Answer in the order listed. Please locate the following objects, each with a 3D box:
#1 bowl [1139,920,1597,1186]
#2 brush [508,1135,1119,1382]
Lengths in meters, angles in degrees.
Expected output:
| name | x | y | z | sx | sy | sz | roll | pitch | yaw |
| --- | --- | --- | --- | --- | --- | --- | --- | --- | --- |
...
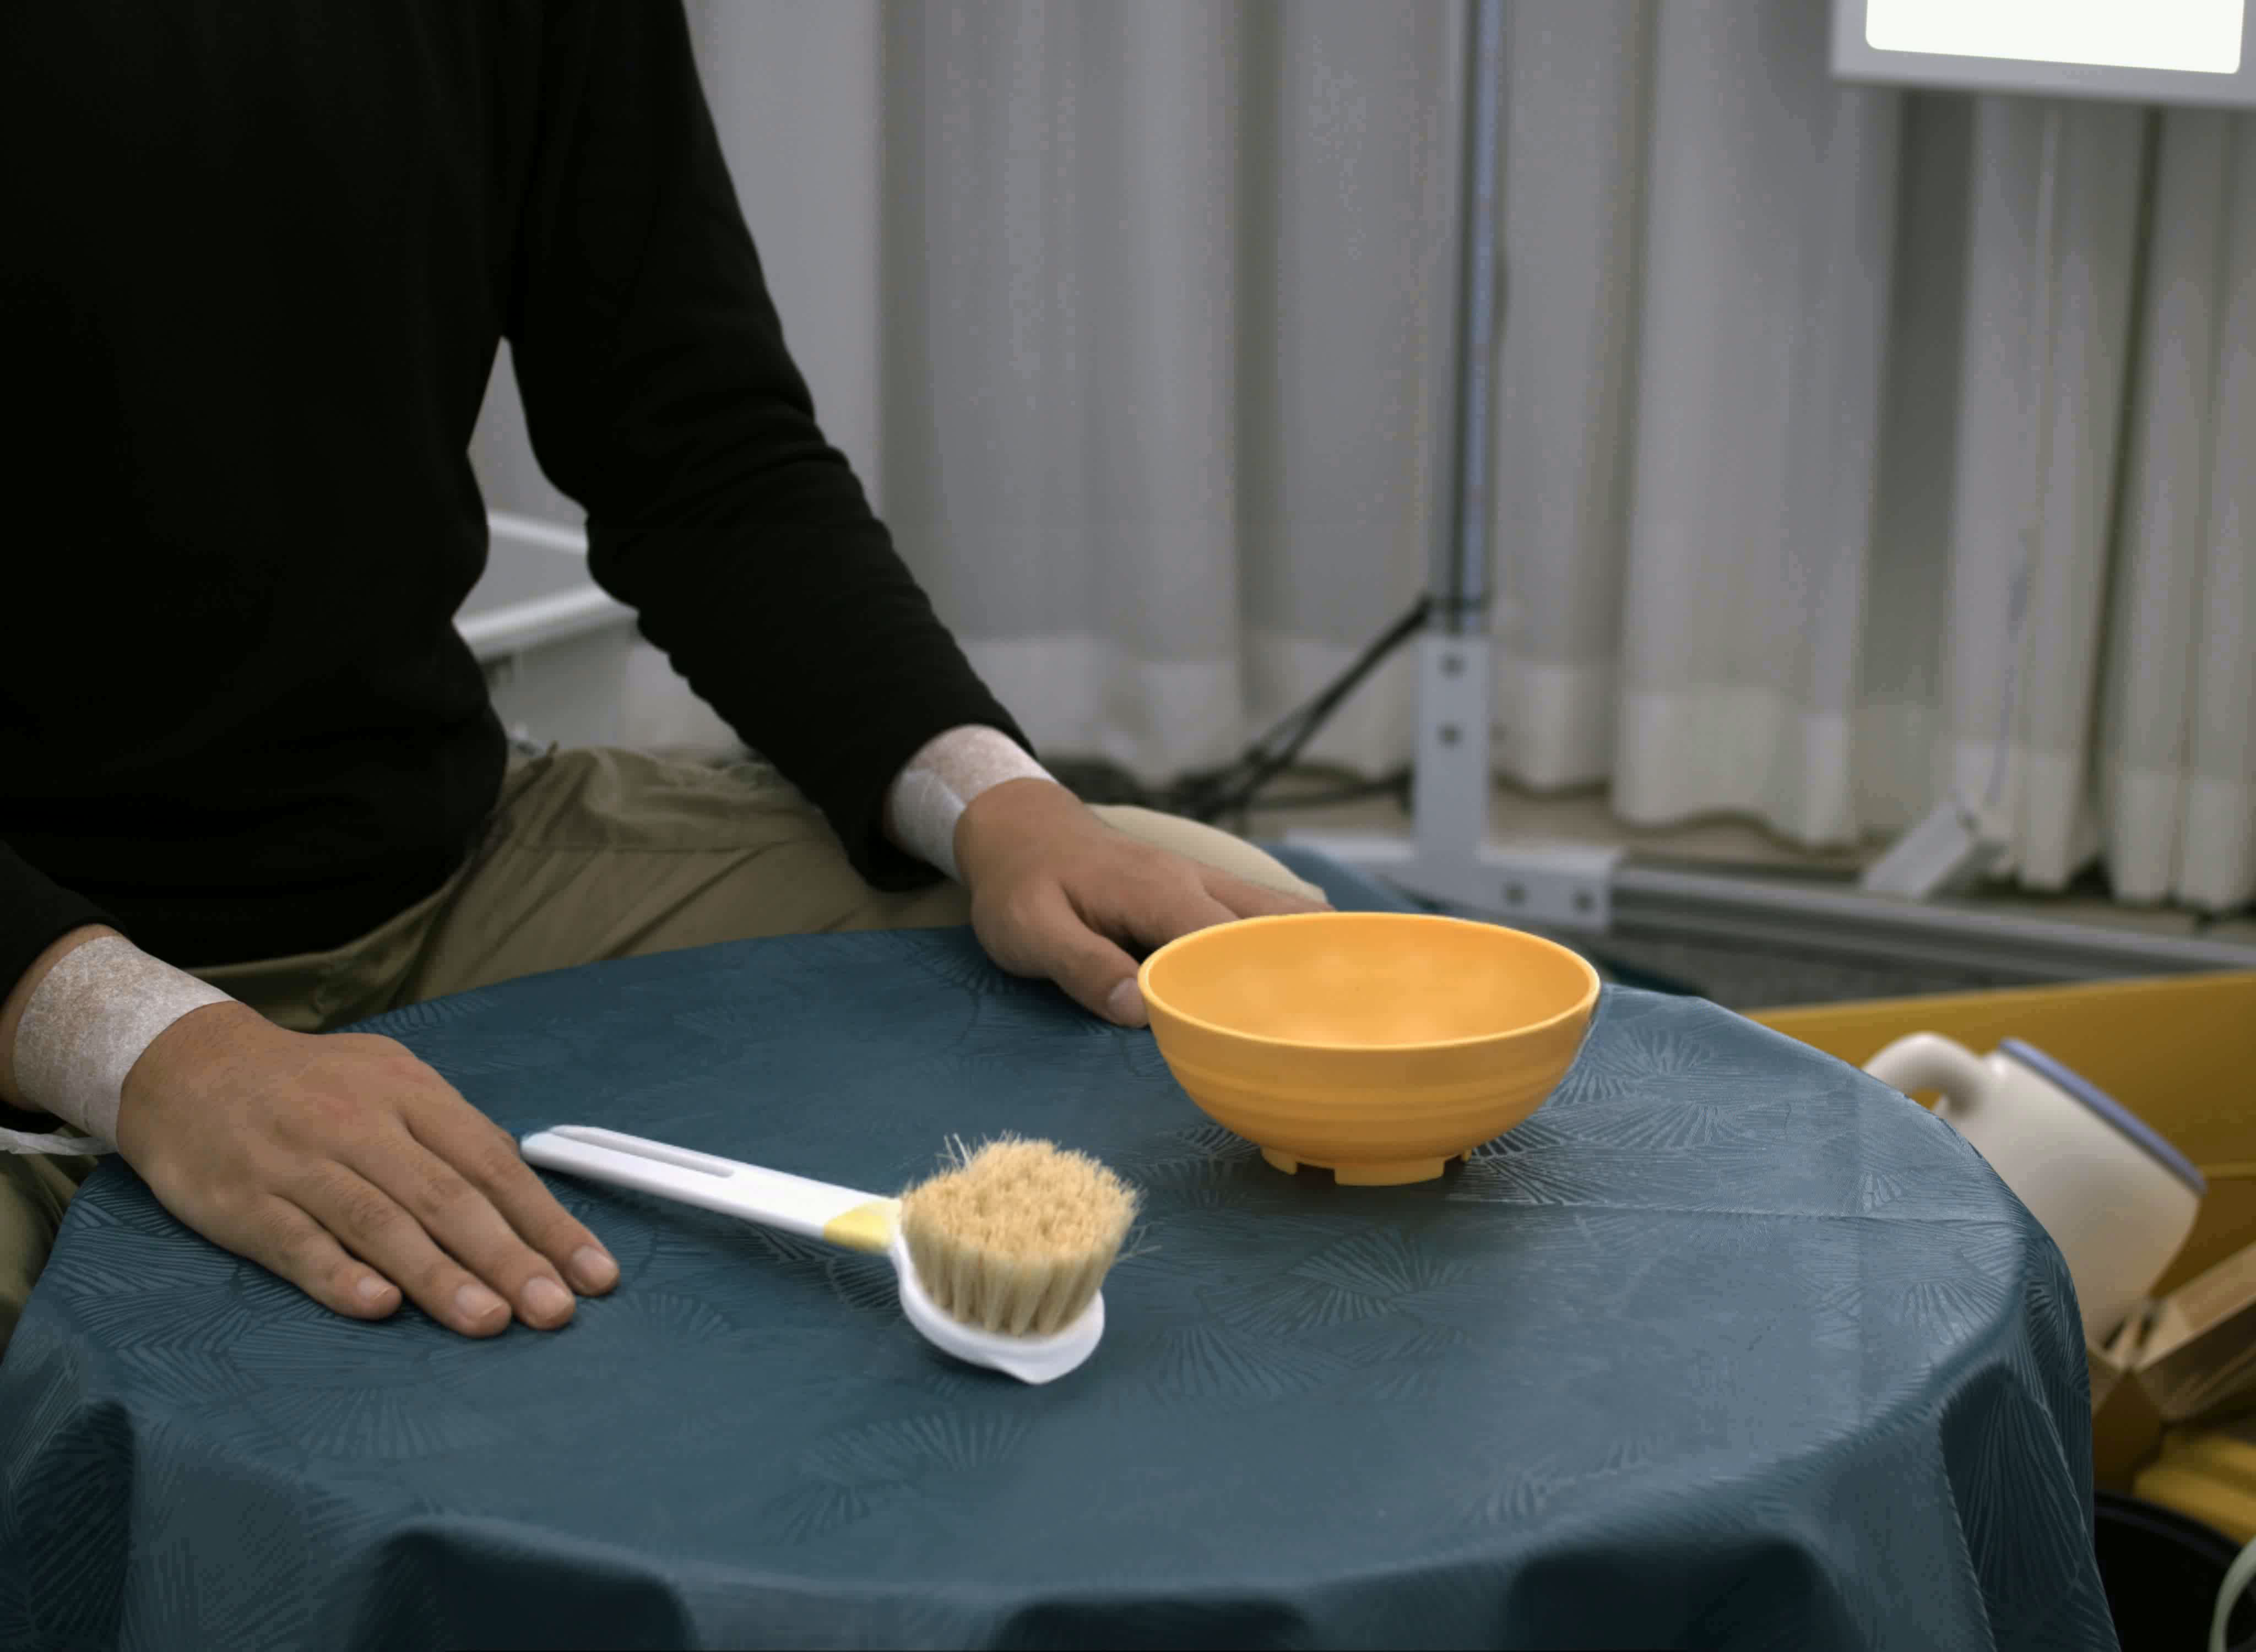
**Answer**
| name | x | y | z | sx | sy | sz | roll | pitch | yaw |
| --- | --- | --- | --- | --- | --- | --- | --- | --- | --- |
| bowl | 0.074 | 0.075 | 1.649 | 0.145 | 0.060 | 0.144 | 1 | 14 | 0 |
| brush | -0.102 | 0.103 | 1.550 | 0.069 | 0.056 | 0.263 | -7 | 15 | -40 |
